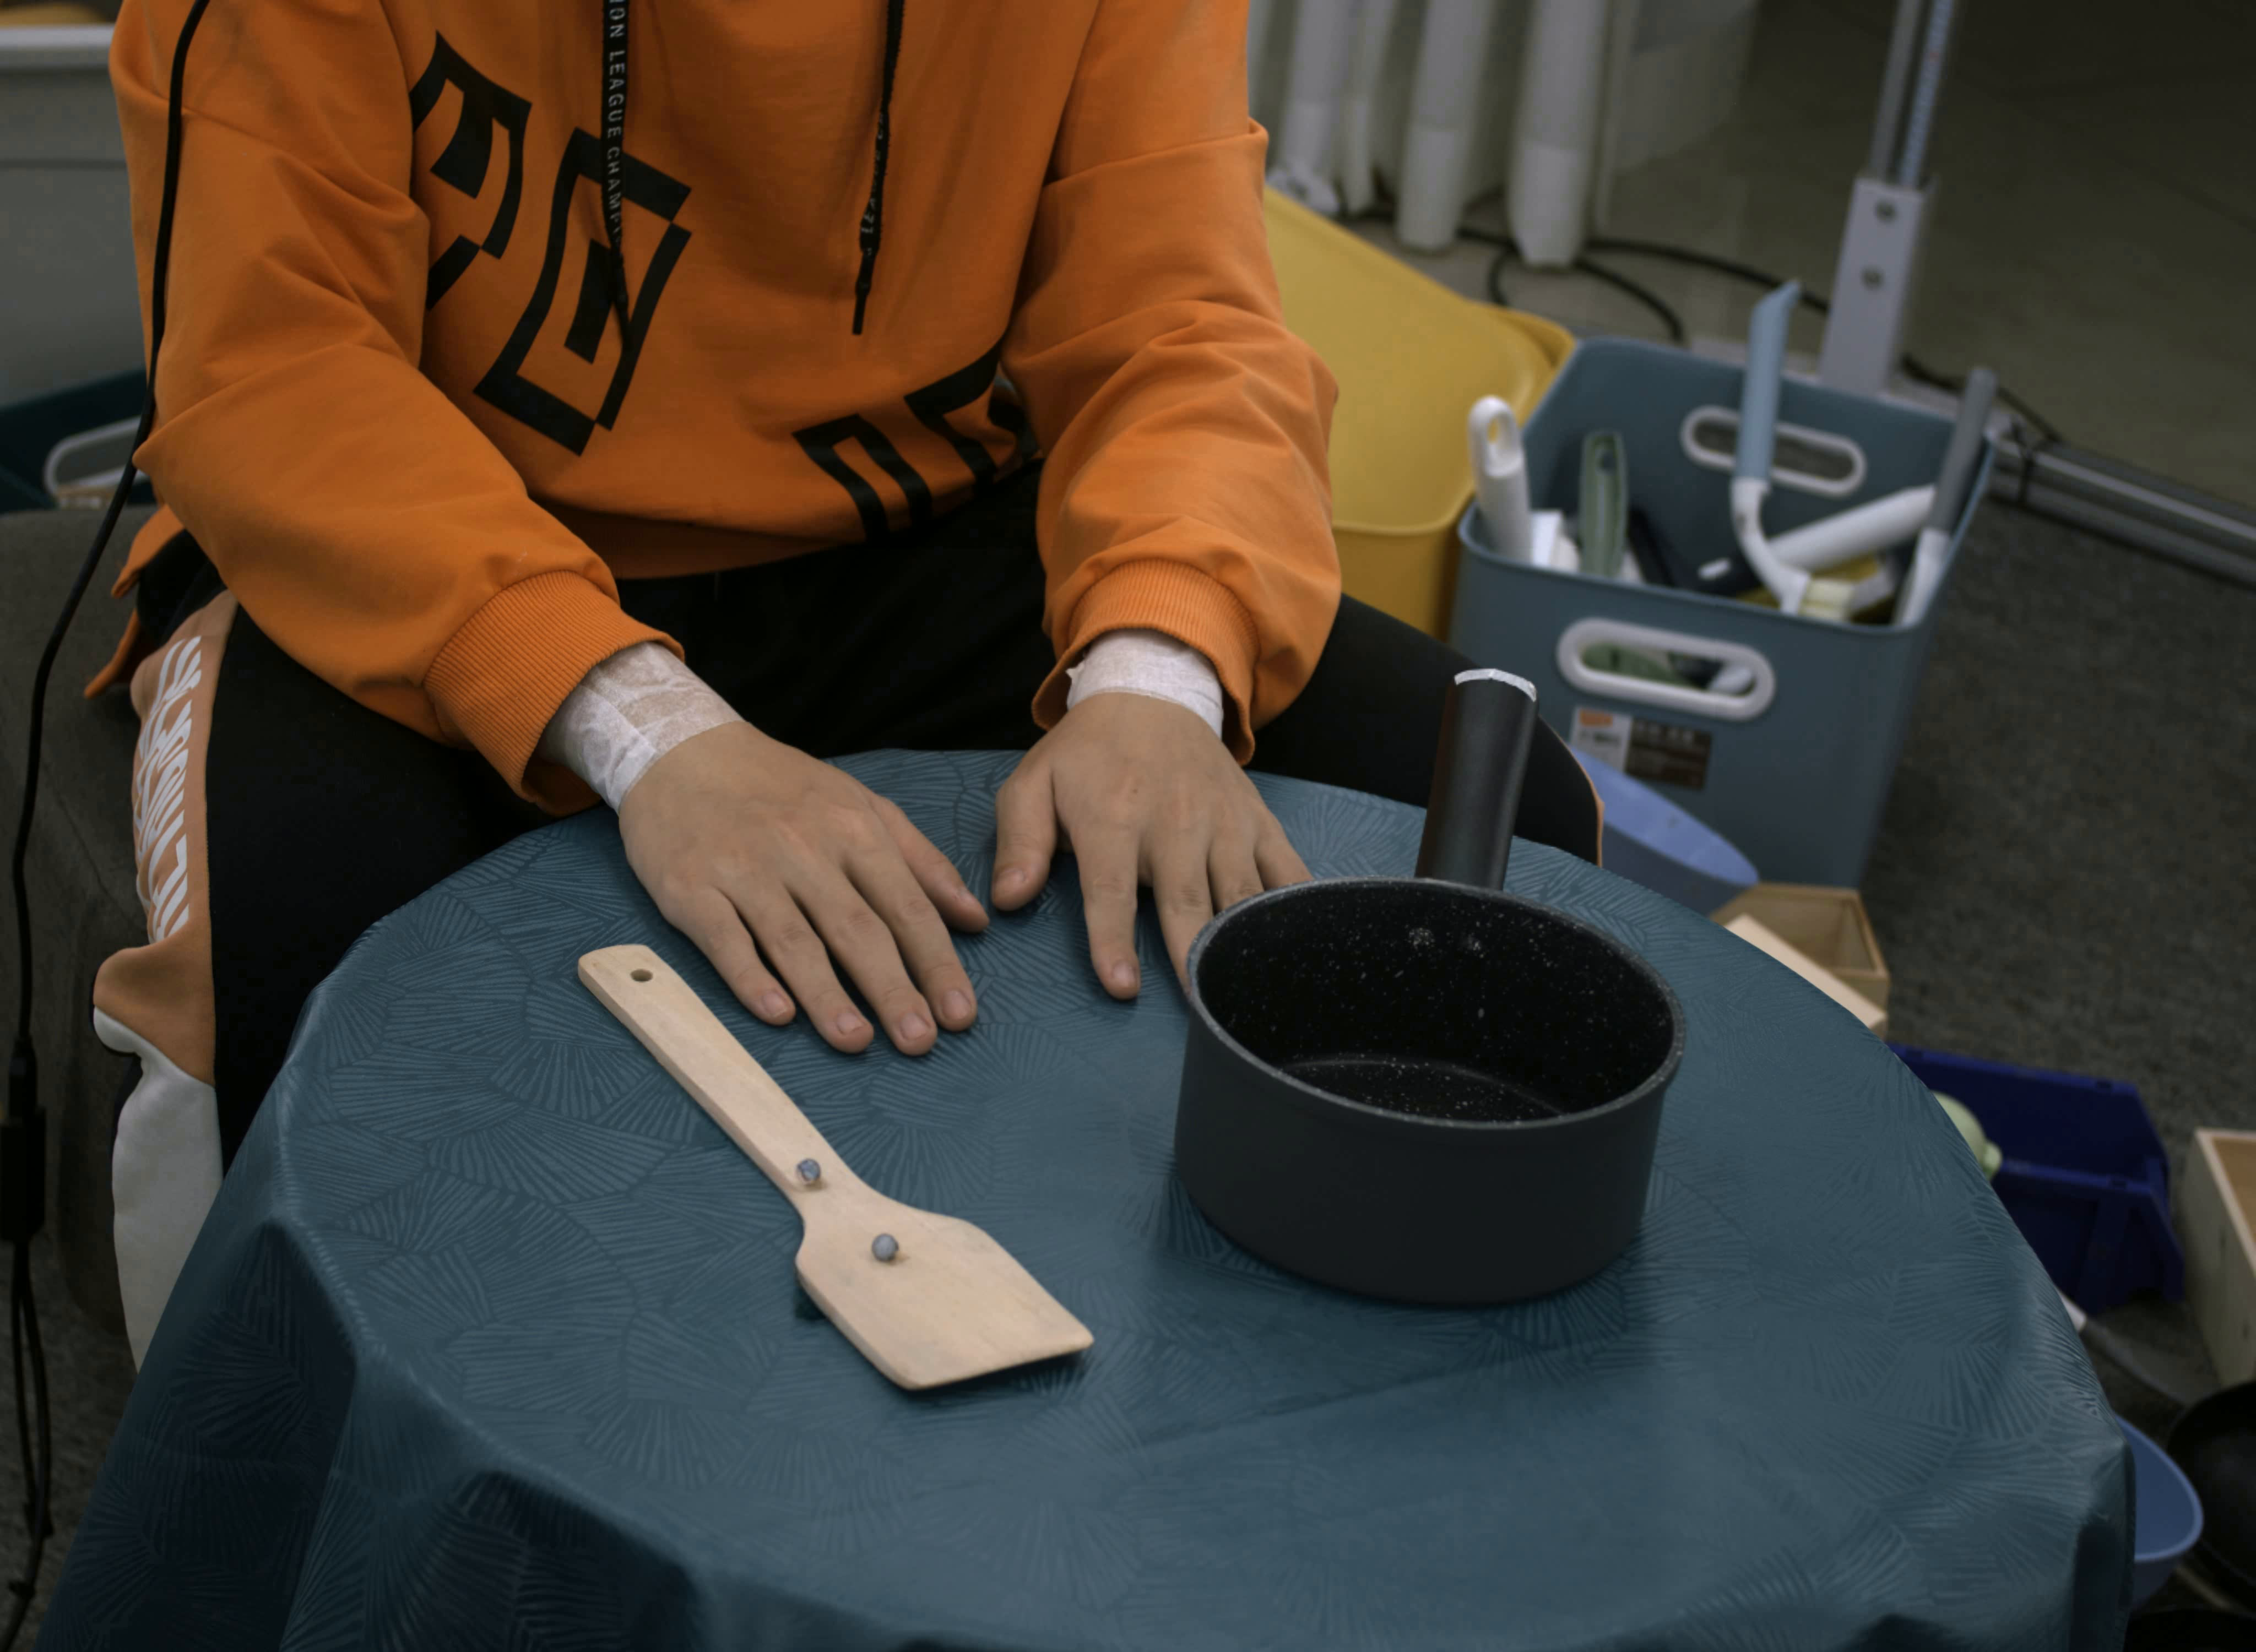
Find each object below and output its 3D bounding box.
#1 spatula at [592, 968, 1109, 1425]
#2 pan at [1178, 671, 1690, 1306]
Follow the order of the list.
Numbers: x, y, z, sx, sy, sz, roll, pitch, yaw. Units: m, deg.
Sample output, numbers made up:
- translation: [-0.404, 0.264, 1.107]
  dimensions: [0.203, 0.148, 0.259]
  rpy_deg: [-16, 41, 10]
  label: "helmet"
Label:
- translation: [-0.109, 0.120, 1.795]
  dimensions: [0.072, 0.010, 0.296]
  rpy_deg: [-13, 33, -28]
  label: "spatula"
- translation: [0.115, 0.052, 1.876]
  dimensions: [0.172, 0.086, 0.330]
  rpy_deg: [11, 29, 7]
  label: "pan"
